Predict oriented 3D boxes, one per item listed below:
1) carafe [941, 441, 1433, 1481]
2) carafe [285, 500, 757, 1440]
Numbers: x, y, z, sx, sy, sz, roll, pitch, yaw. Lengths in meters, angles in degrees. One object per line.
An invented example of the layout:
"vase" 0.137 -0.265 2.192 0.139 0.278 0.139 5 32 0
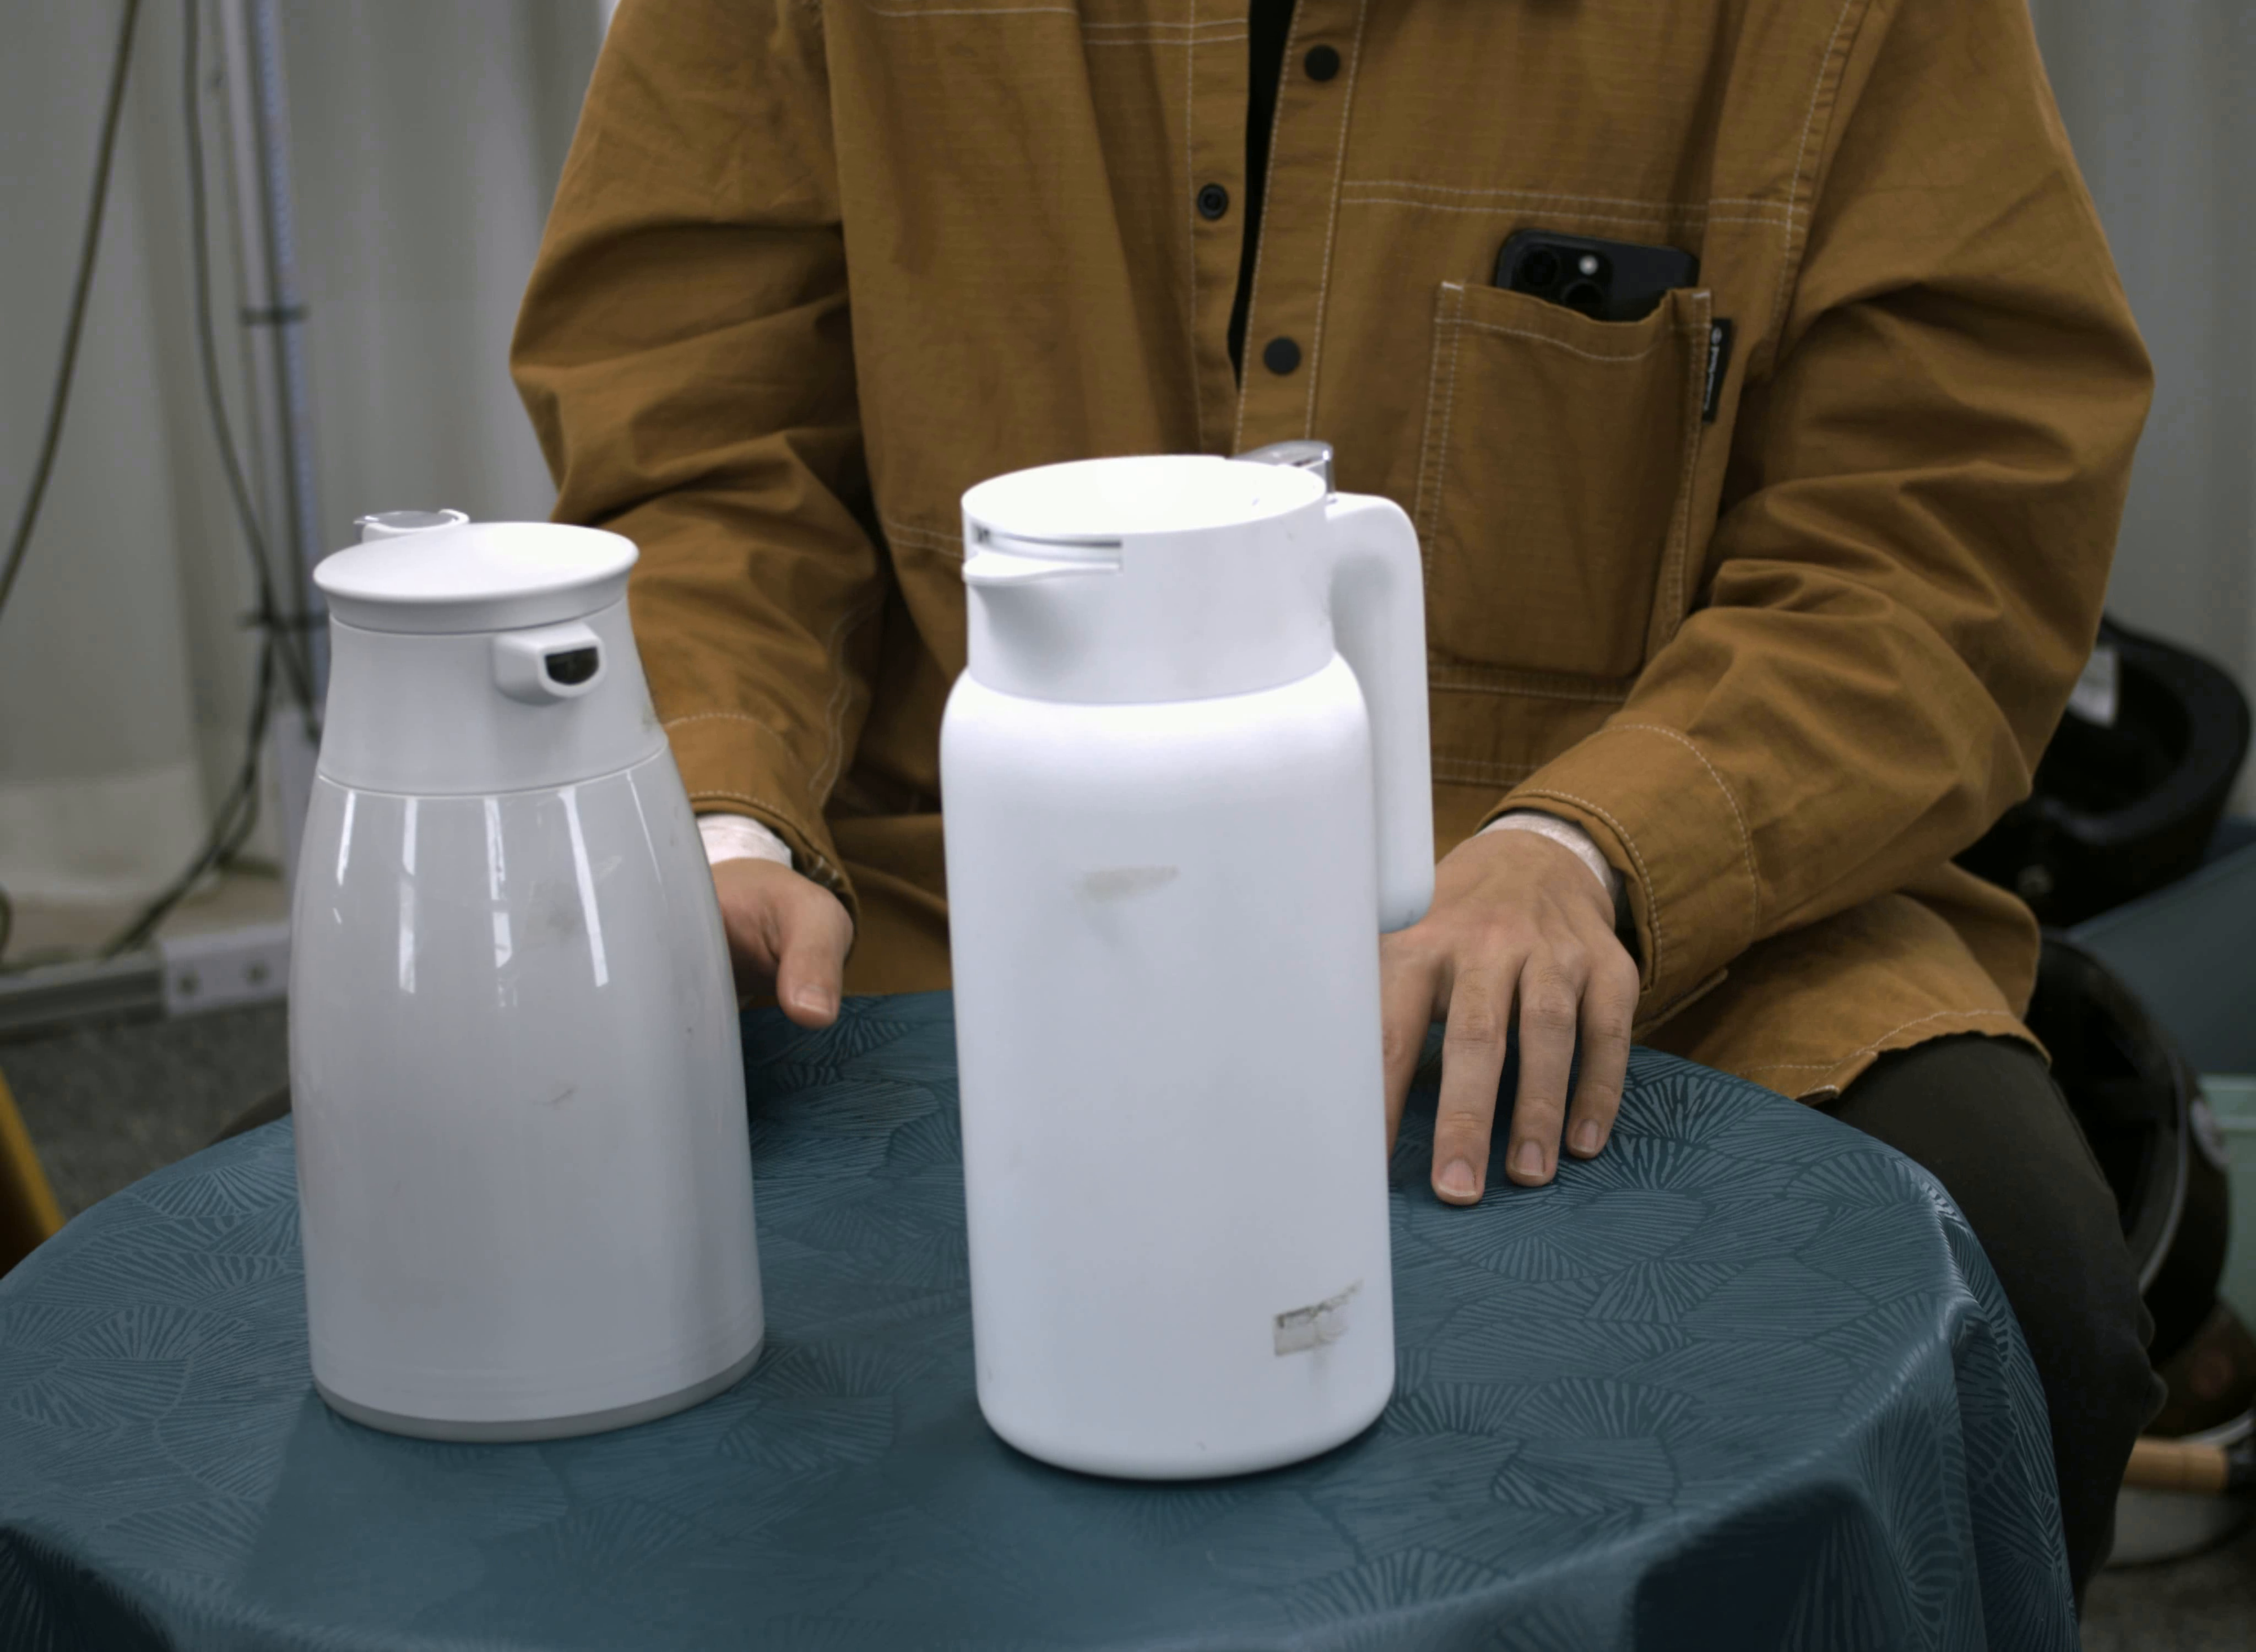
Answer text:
"carafe" 0.021 0.032 1.505 0.124 0.268 0.172 6 16 40
"carafe" -0.188 0.033 1.579 0.132 0.248 0.169 -10 15 -30
